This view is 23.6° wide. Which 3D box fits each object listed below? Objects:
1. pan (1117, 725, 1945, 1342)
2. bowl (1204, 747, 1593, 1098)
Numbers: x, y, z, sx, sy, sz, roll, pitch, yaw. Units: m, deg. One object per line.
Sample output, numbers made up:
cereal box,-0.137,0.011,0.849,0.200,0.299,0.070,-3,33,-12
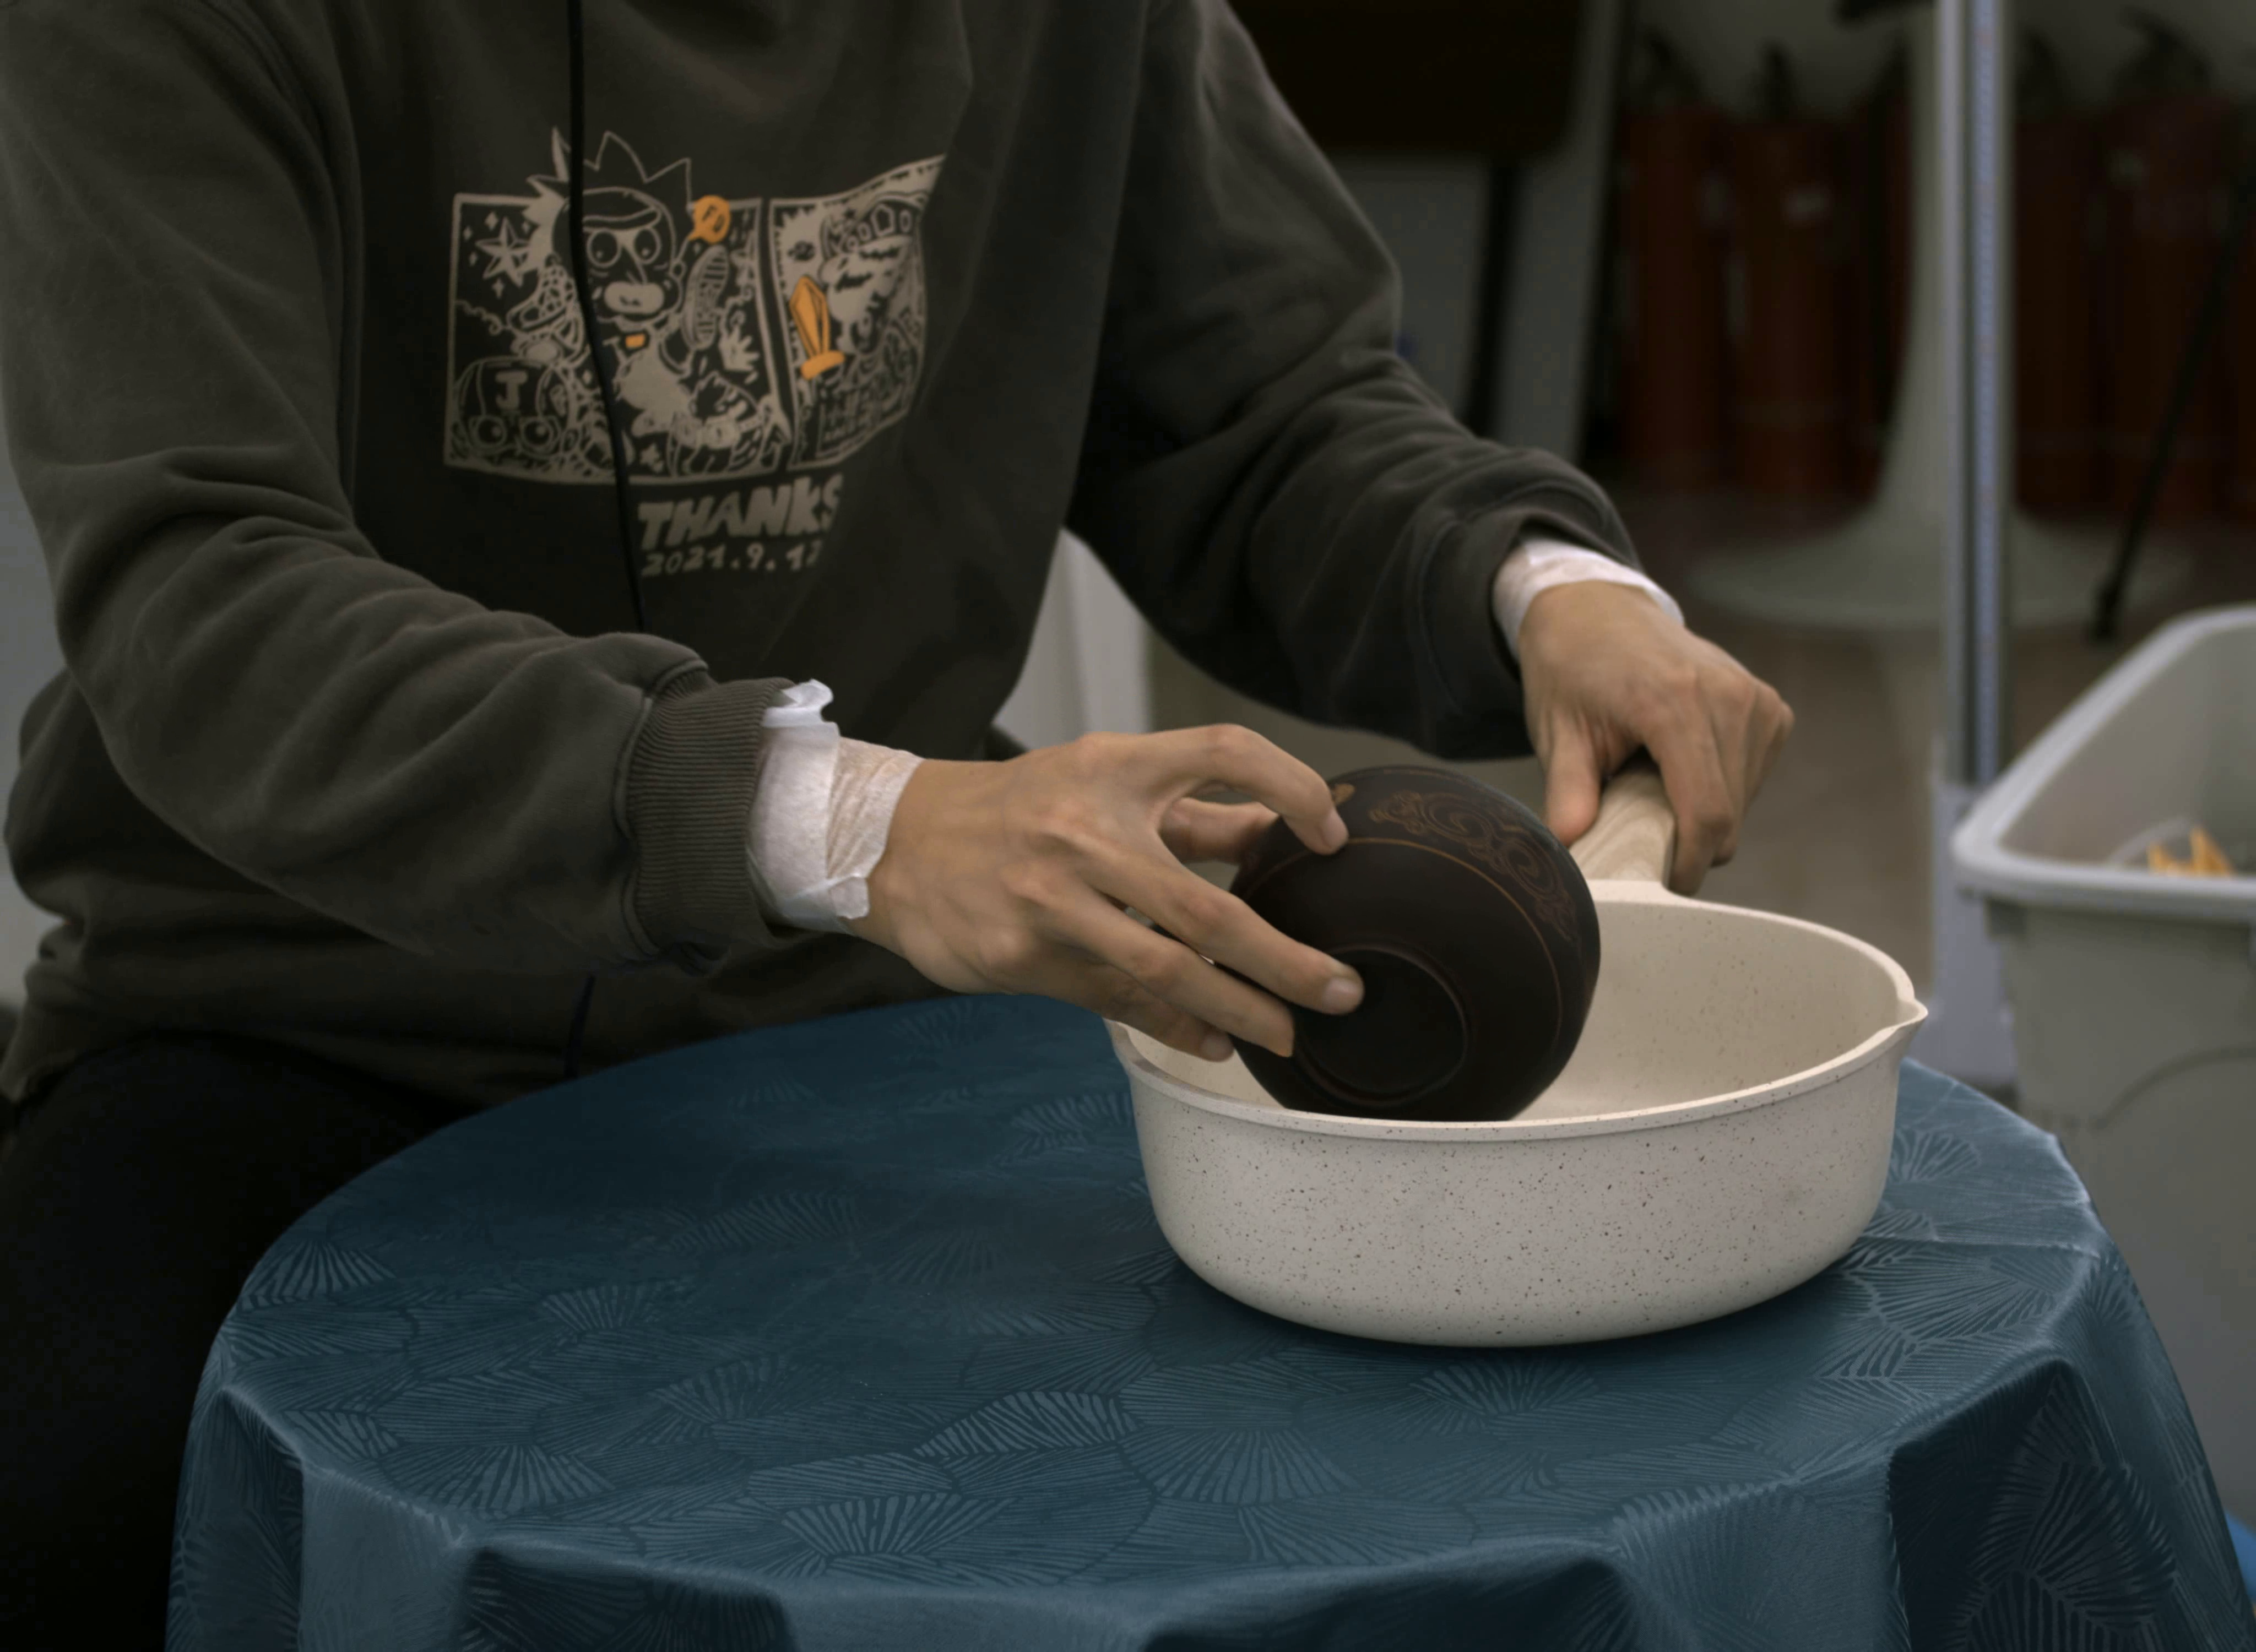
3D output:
pan,0.151,0.064,1.760,0.262,0.103,0.431,-2,13,17
bowl,0.078,0.043,1.617,0.117,0.119,0.069,1,25,16
